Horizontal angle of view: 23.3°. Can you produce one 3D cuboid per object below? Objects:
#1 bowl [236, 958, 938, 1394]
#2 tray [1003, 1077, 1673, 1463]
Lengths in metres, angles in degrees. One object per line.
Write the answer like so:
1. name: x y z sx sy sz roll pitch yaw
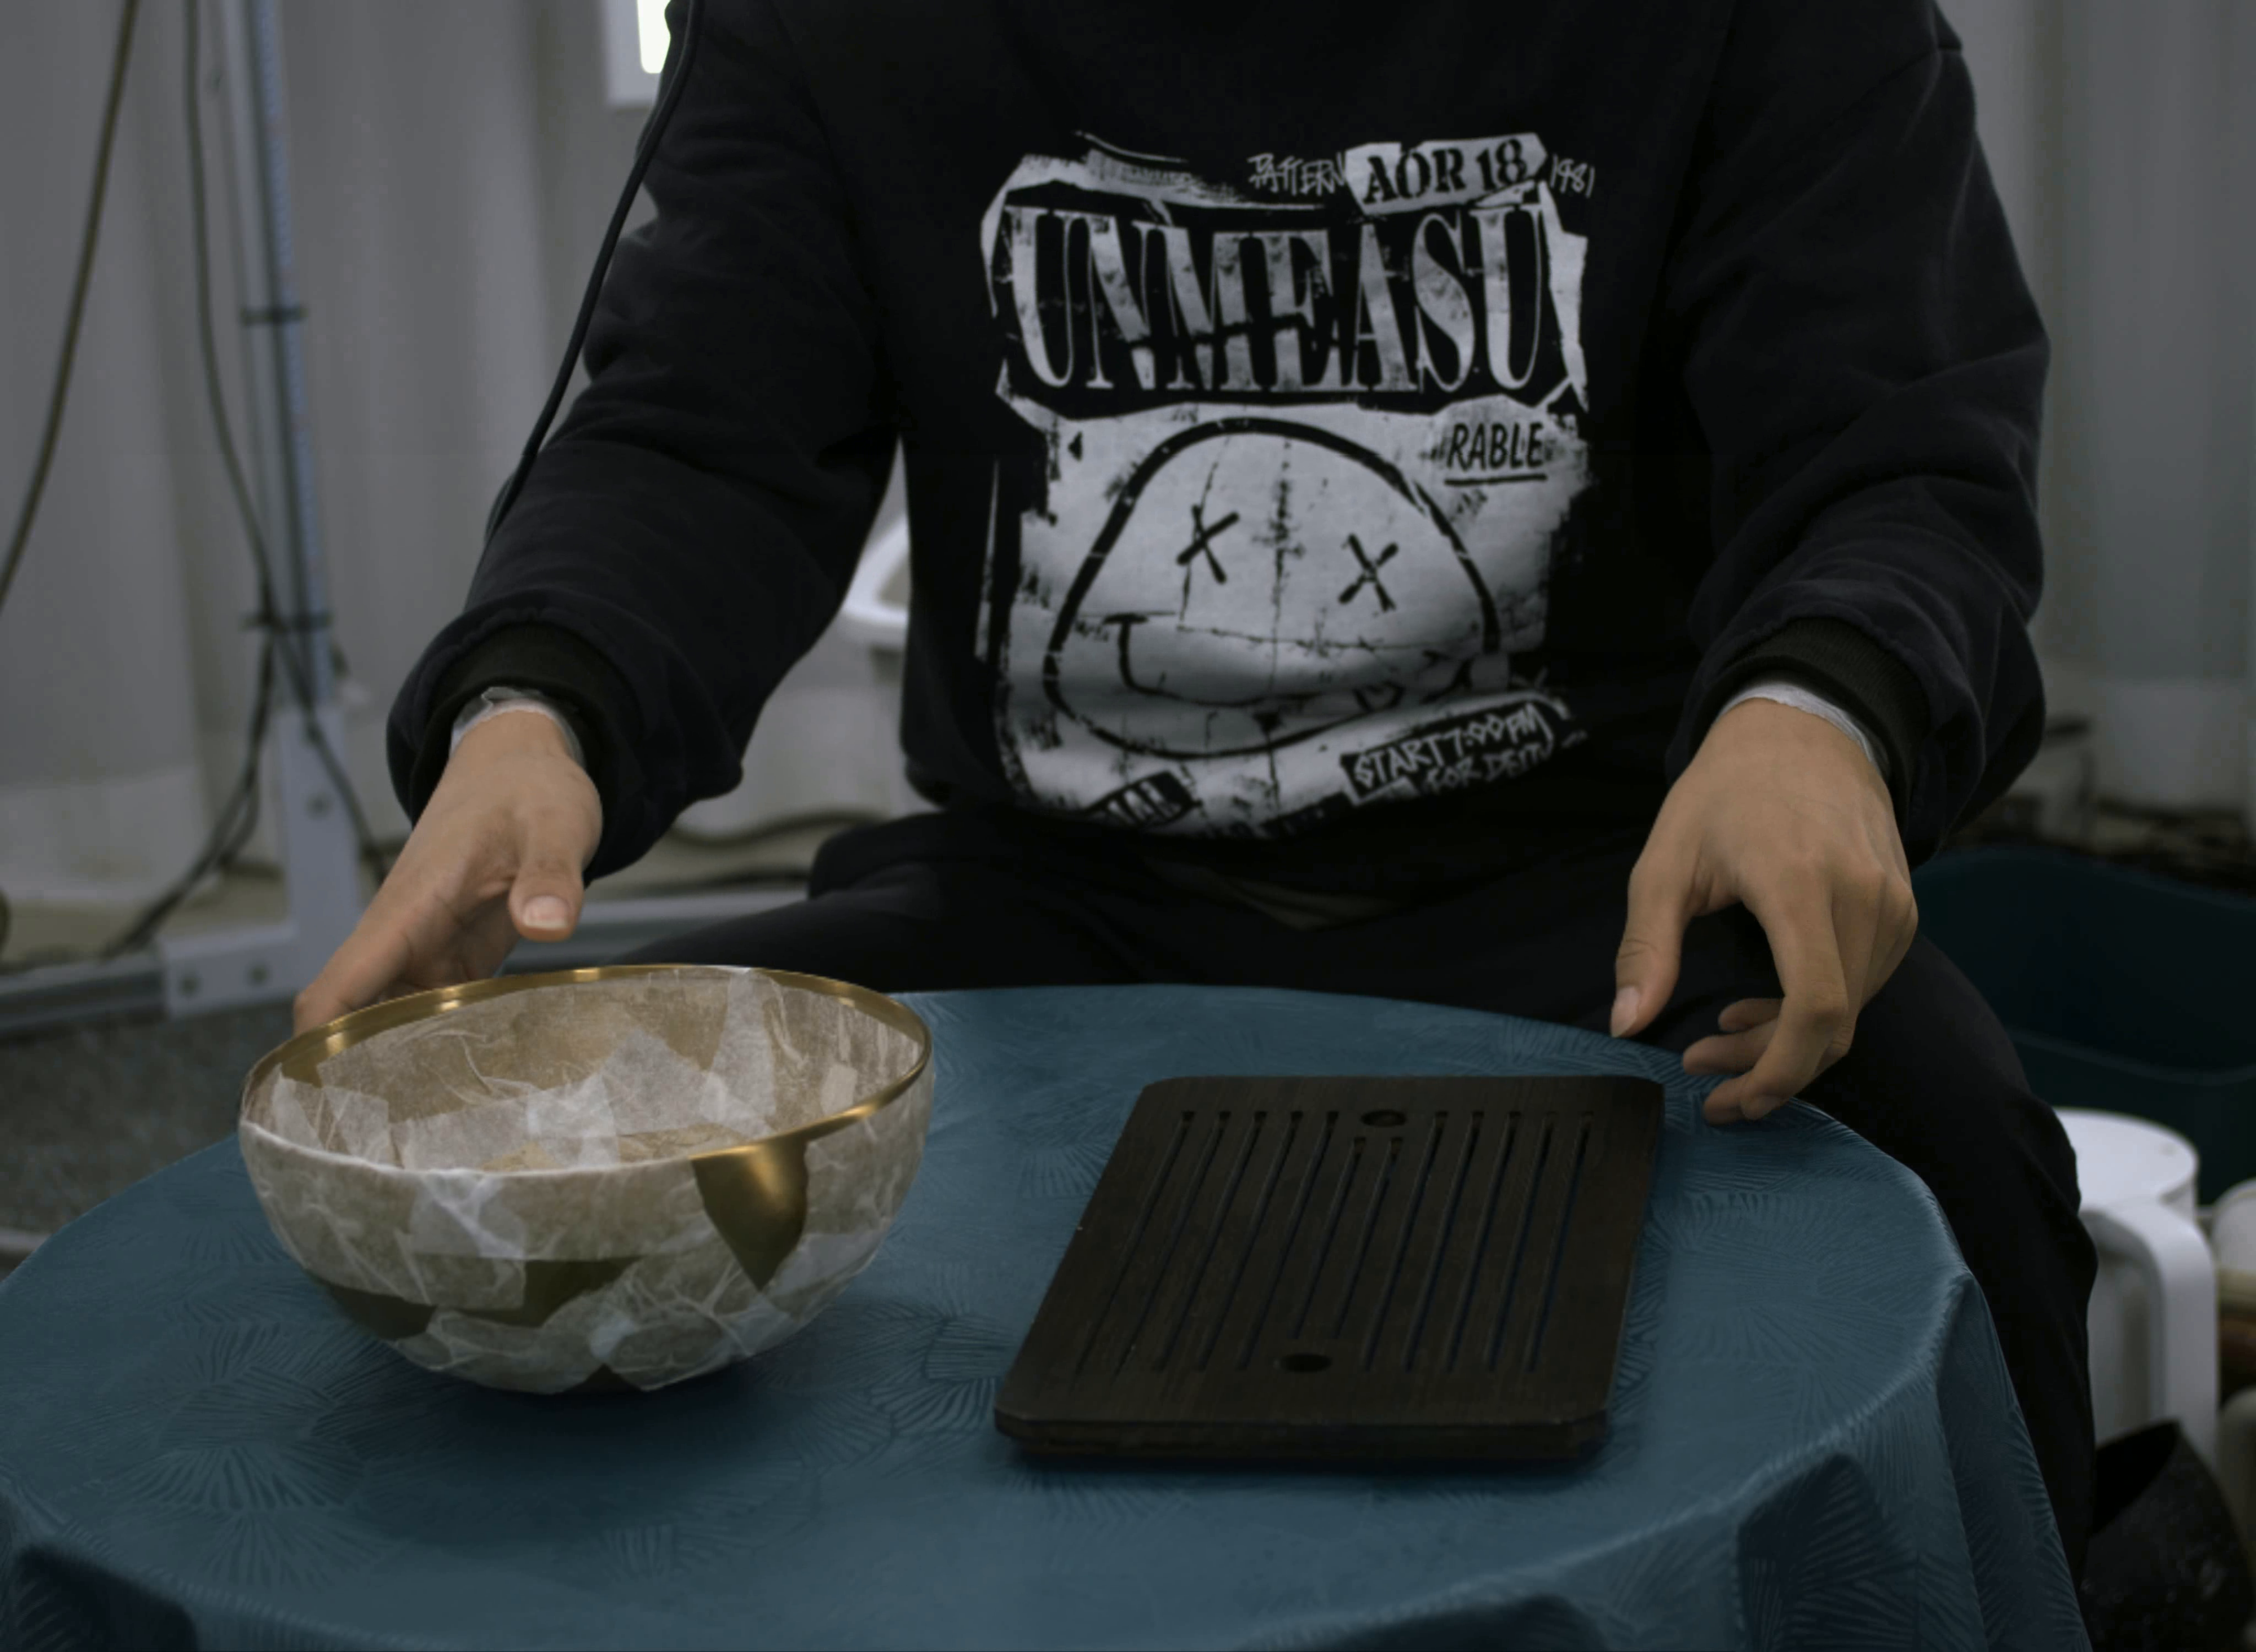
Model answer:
1. bowl: -0.149 0.109 1.585 0.214 0.094 0.216 -4 14 1
2. tray: 0.070 0.129 1.616 0.170 0.018 0.307 0 15 9
